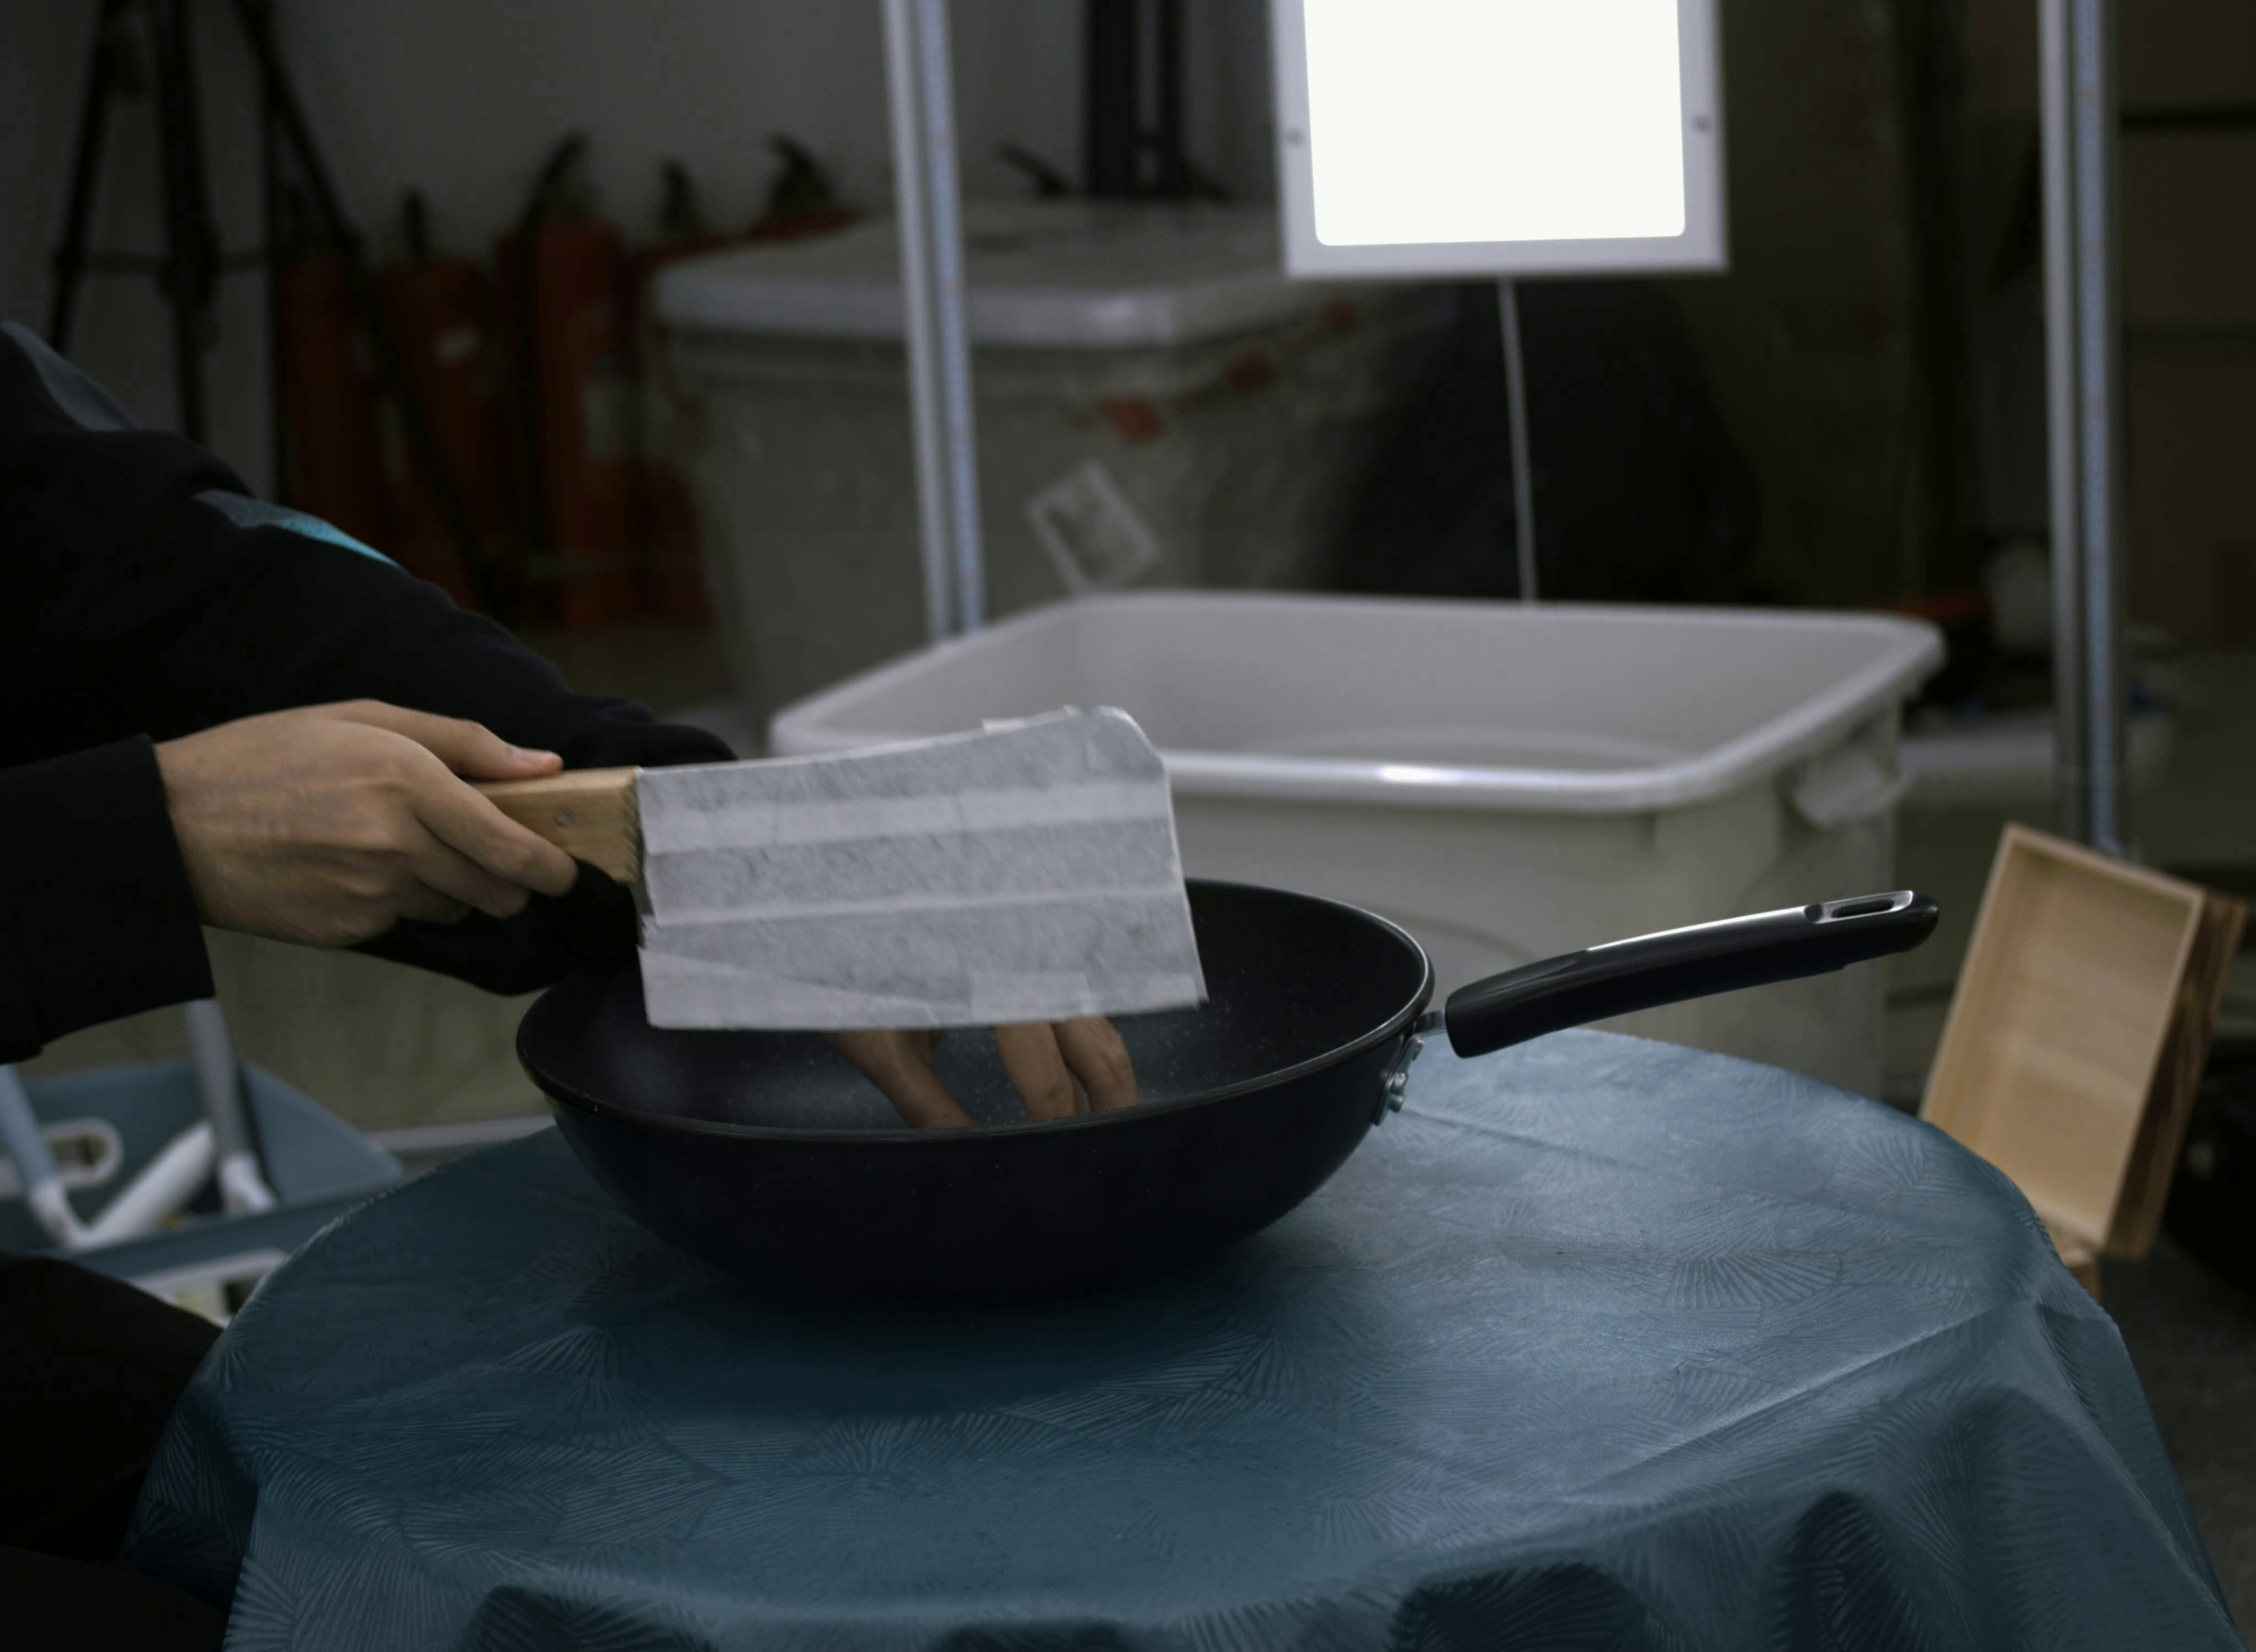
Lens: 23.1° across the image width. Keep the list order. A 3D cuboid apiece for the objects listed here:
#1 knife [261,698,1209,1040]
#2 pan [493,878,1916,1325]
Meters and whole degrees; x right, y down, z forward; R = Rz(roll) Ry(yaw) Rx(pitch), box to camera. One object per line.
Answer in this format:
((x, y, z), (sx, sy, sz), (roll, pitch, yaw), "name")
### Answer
((-0.129, 0.014, 1.777), (0.318, 0.114, 0.021), (1, 13, 14), "knife")
((0.025, 0.086, 1.832), (0.481, 0.112, 0.306), (-2, 16, 14), "pan")
